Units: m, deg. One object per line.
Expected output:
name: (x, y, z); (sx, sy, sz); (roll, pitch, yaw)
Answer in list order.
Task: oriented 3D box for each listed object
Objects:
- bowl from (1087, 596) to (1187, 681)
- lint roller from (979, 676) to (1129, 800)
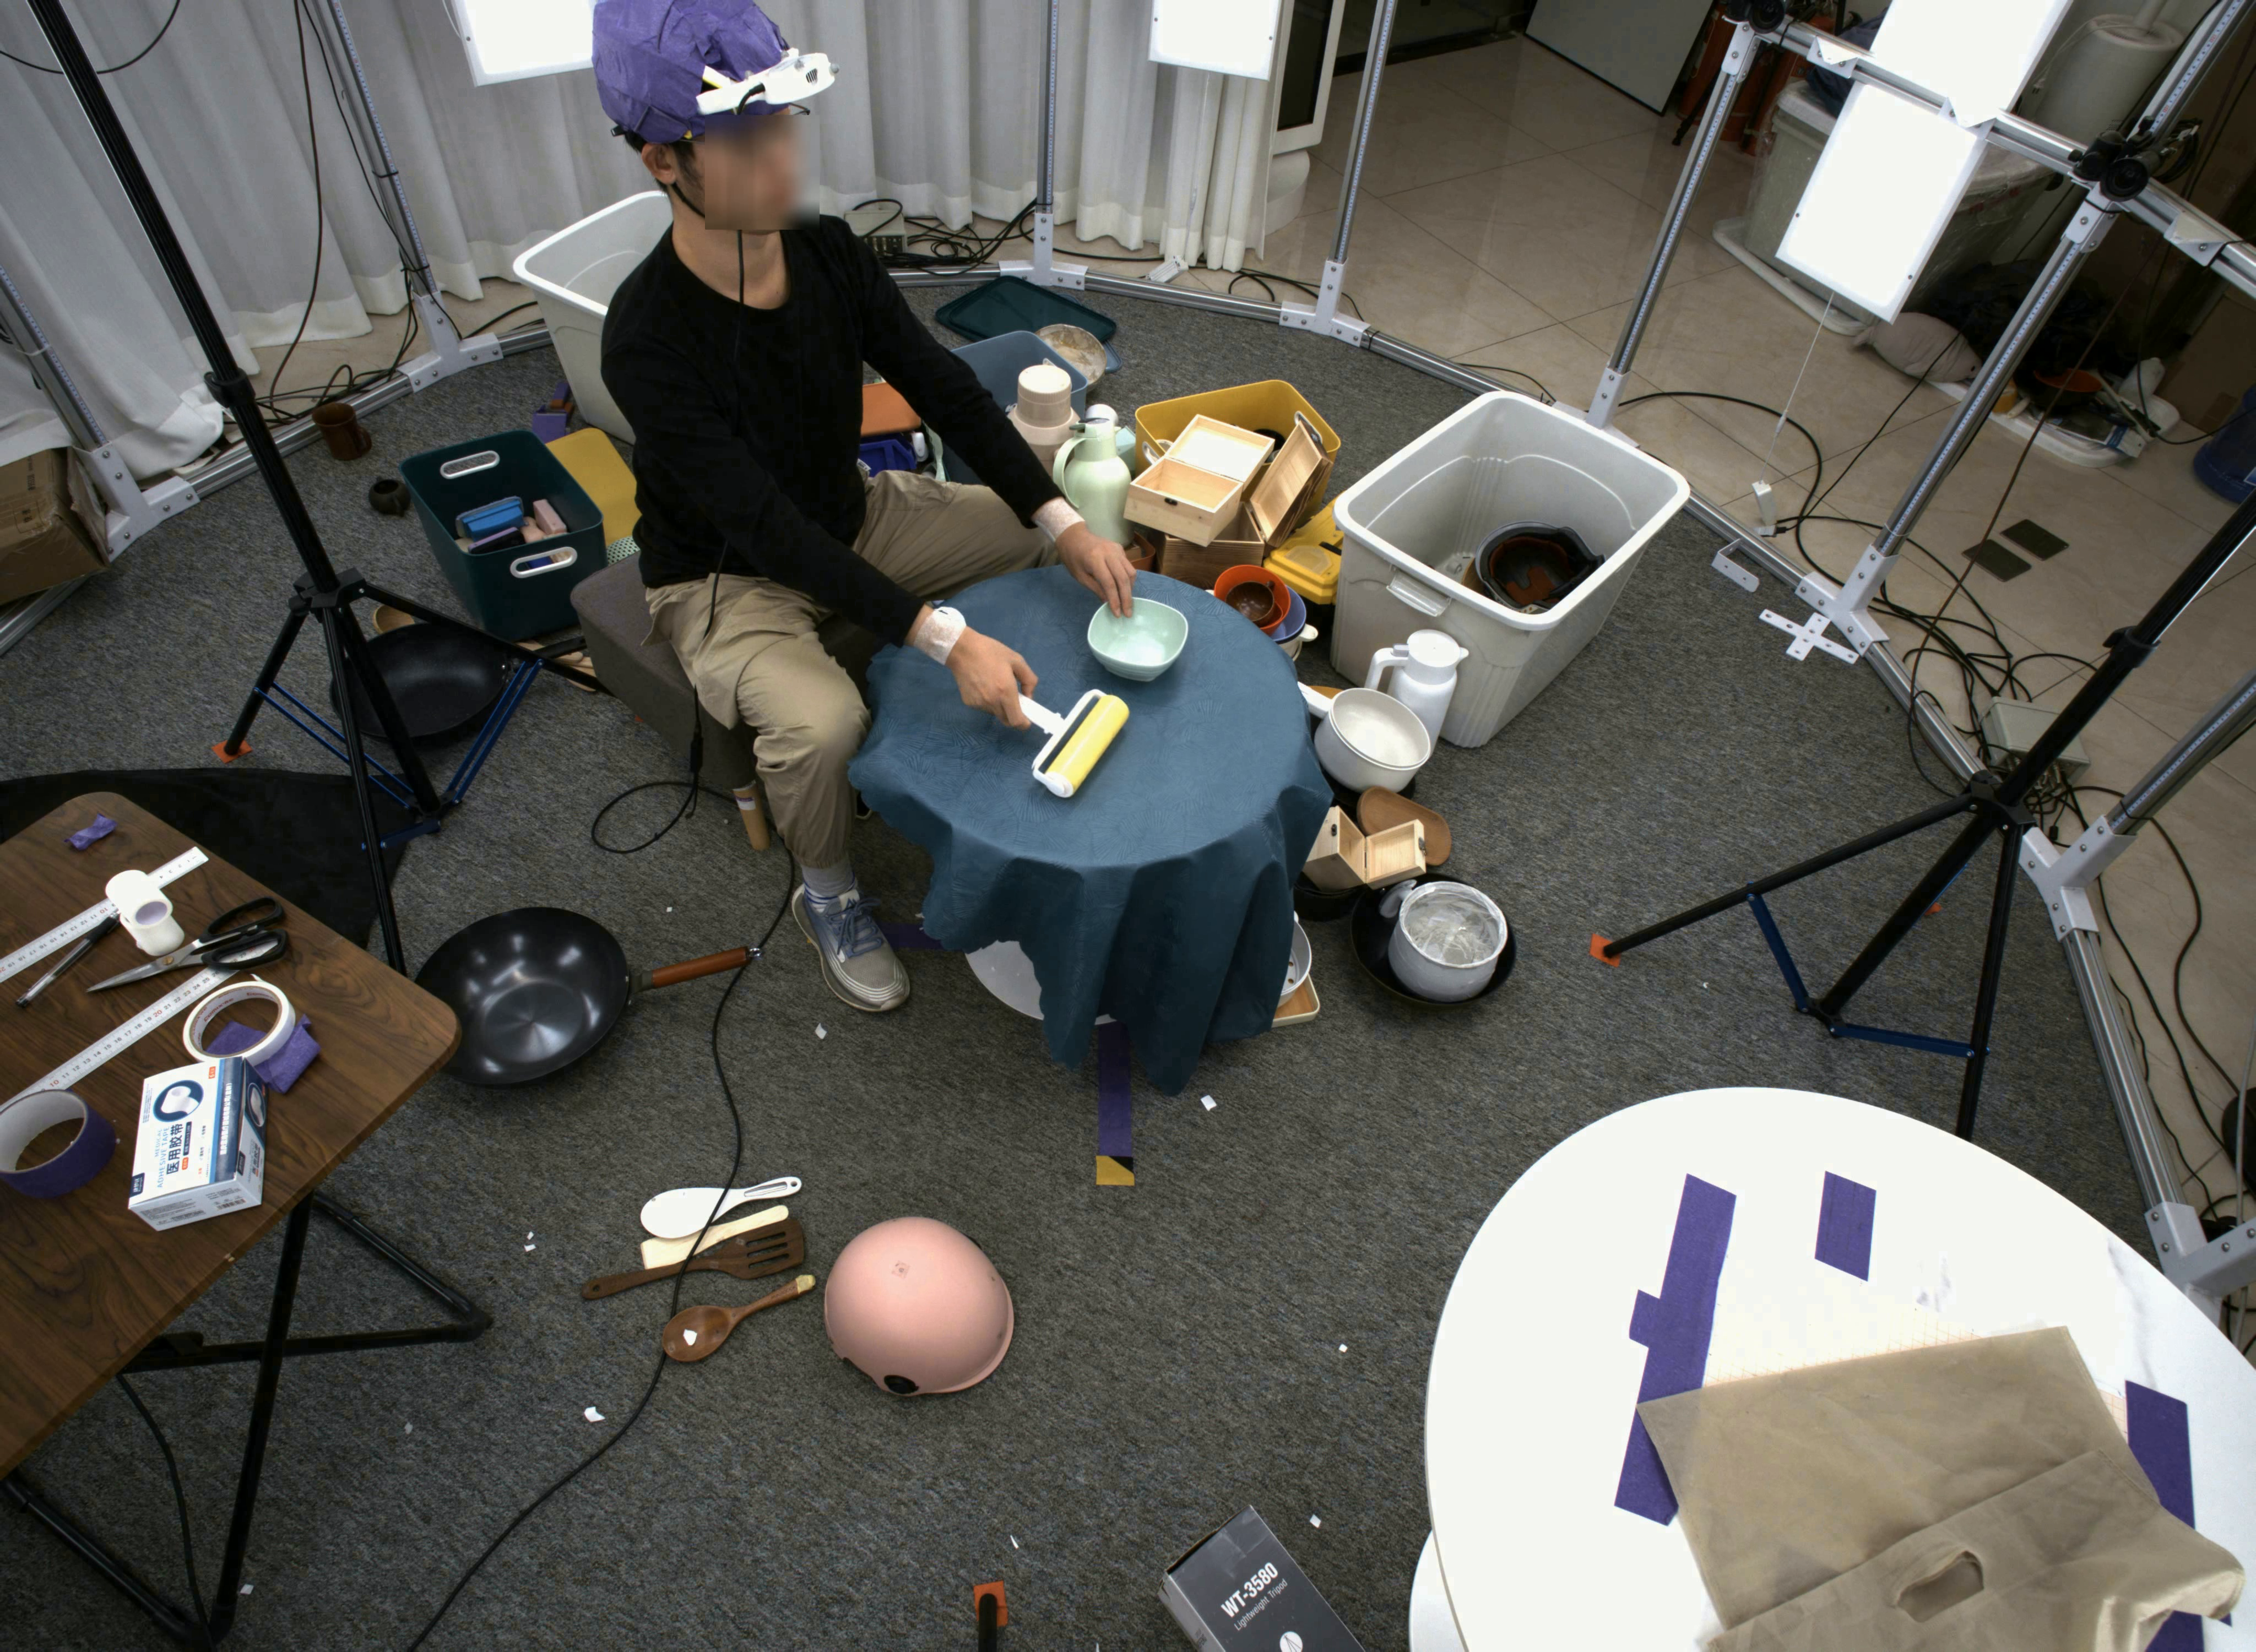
bowl: (0.012, -0.263, 1.862); (0.151, 0.057, 0.155); (3, 50, -4)
lint roller: (-0.114, -0.148, 1.726); (0.191, 0.050, 0.177); (36, 54, -5)
